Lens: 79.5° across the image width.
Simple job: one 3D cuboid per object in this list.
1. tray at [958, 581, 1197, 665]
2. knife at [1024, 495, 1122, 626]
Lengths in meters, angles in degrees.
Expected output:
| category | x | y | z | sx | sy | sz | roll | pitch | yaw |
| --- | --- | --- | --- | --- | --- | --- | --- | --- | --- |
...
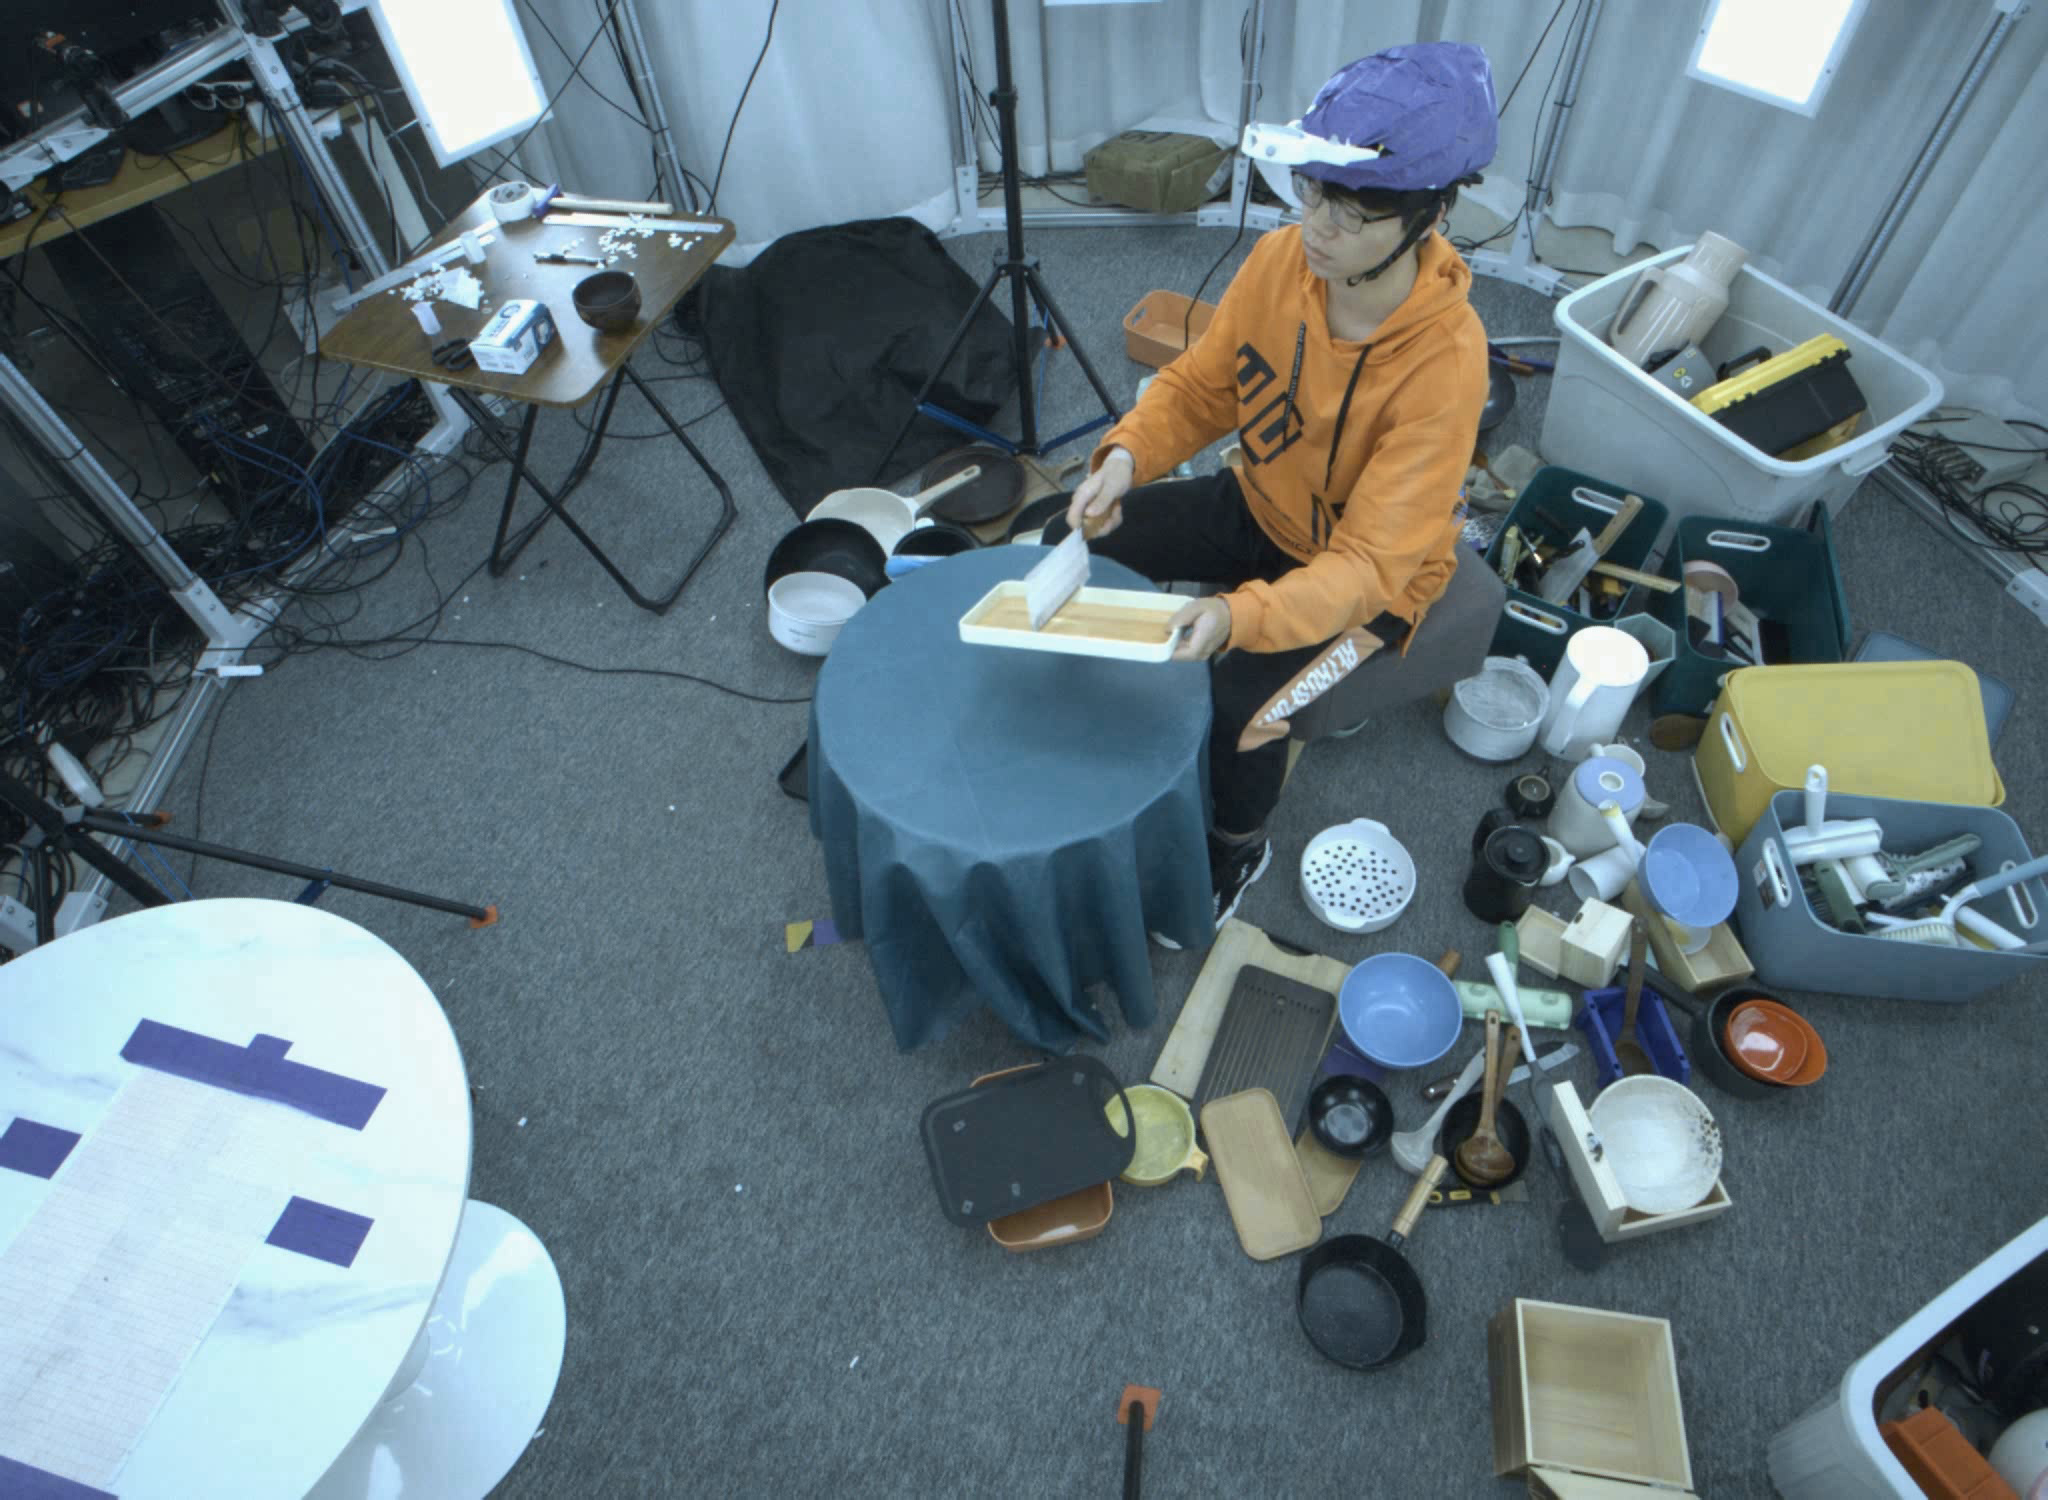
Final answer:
| category | x | y | z | sx | sy | sz | roll | pitch | yaw |
| --- | --- | --- | --- | --- | --- | --- | --- | --- | --- |
| tray | 0.077 | -0.181 | 1.720 | 0.296 | 0.027 | 0.192 | 8 | 30 | 17 |
| knife | 0.073 | -0.271 | 1.756 | 0.020 | 0.094 | 0.307 | 10 | 38 | 26 |
